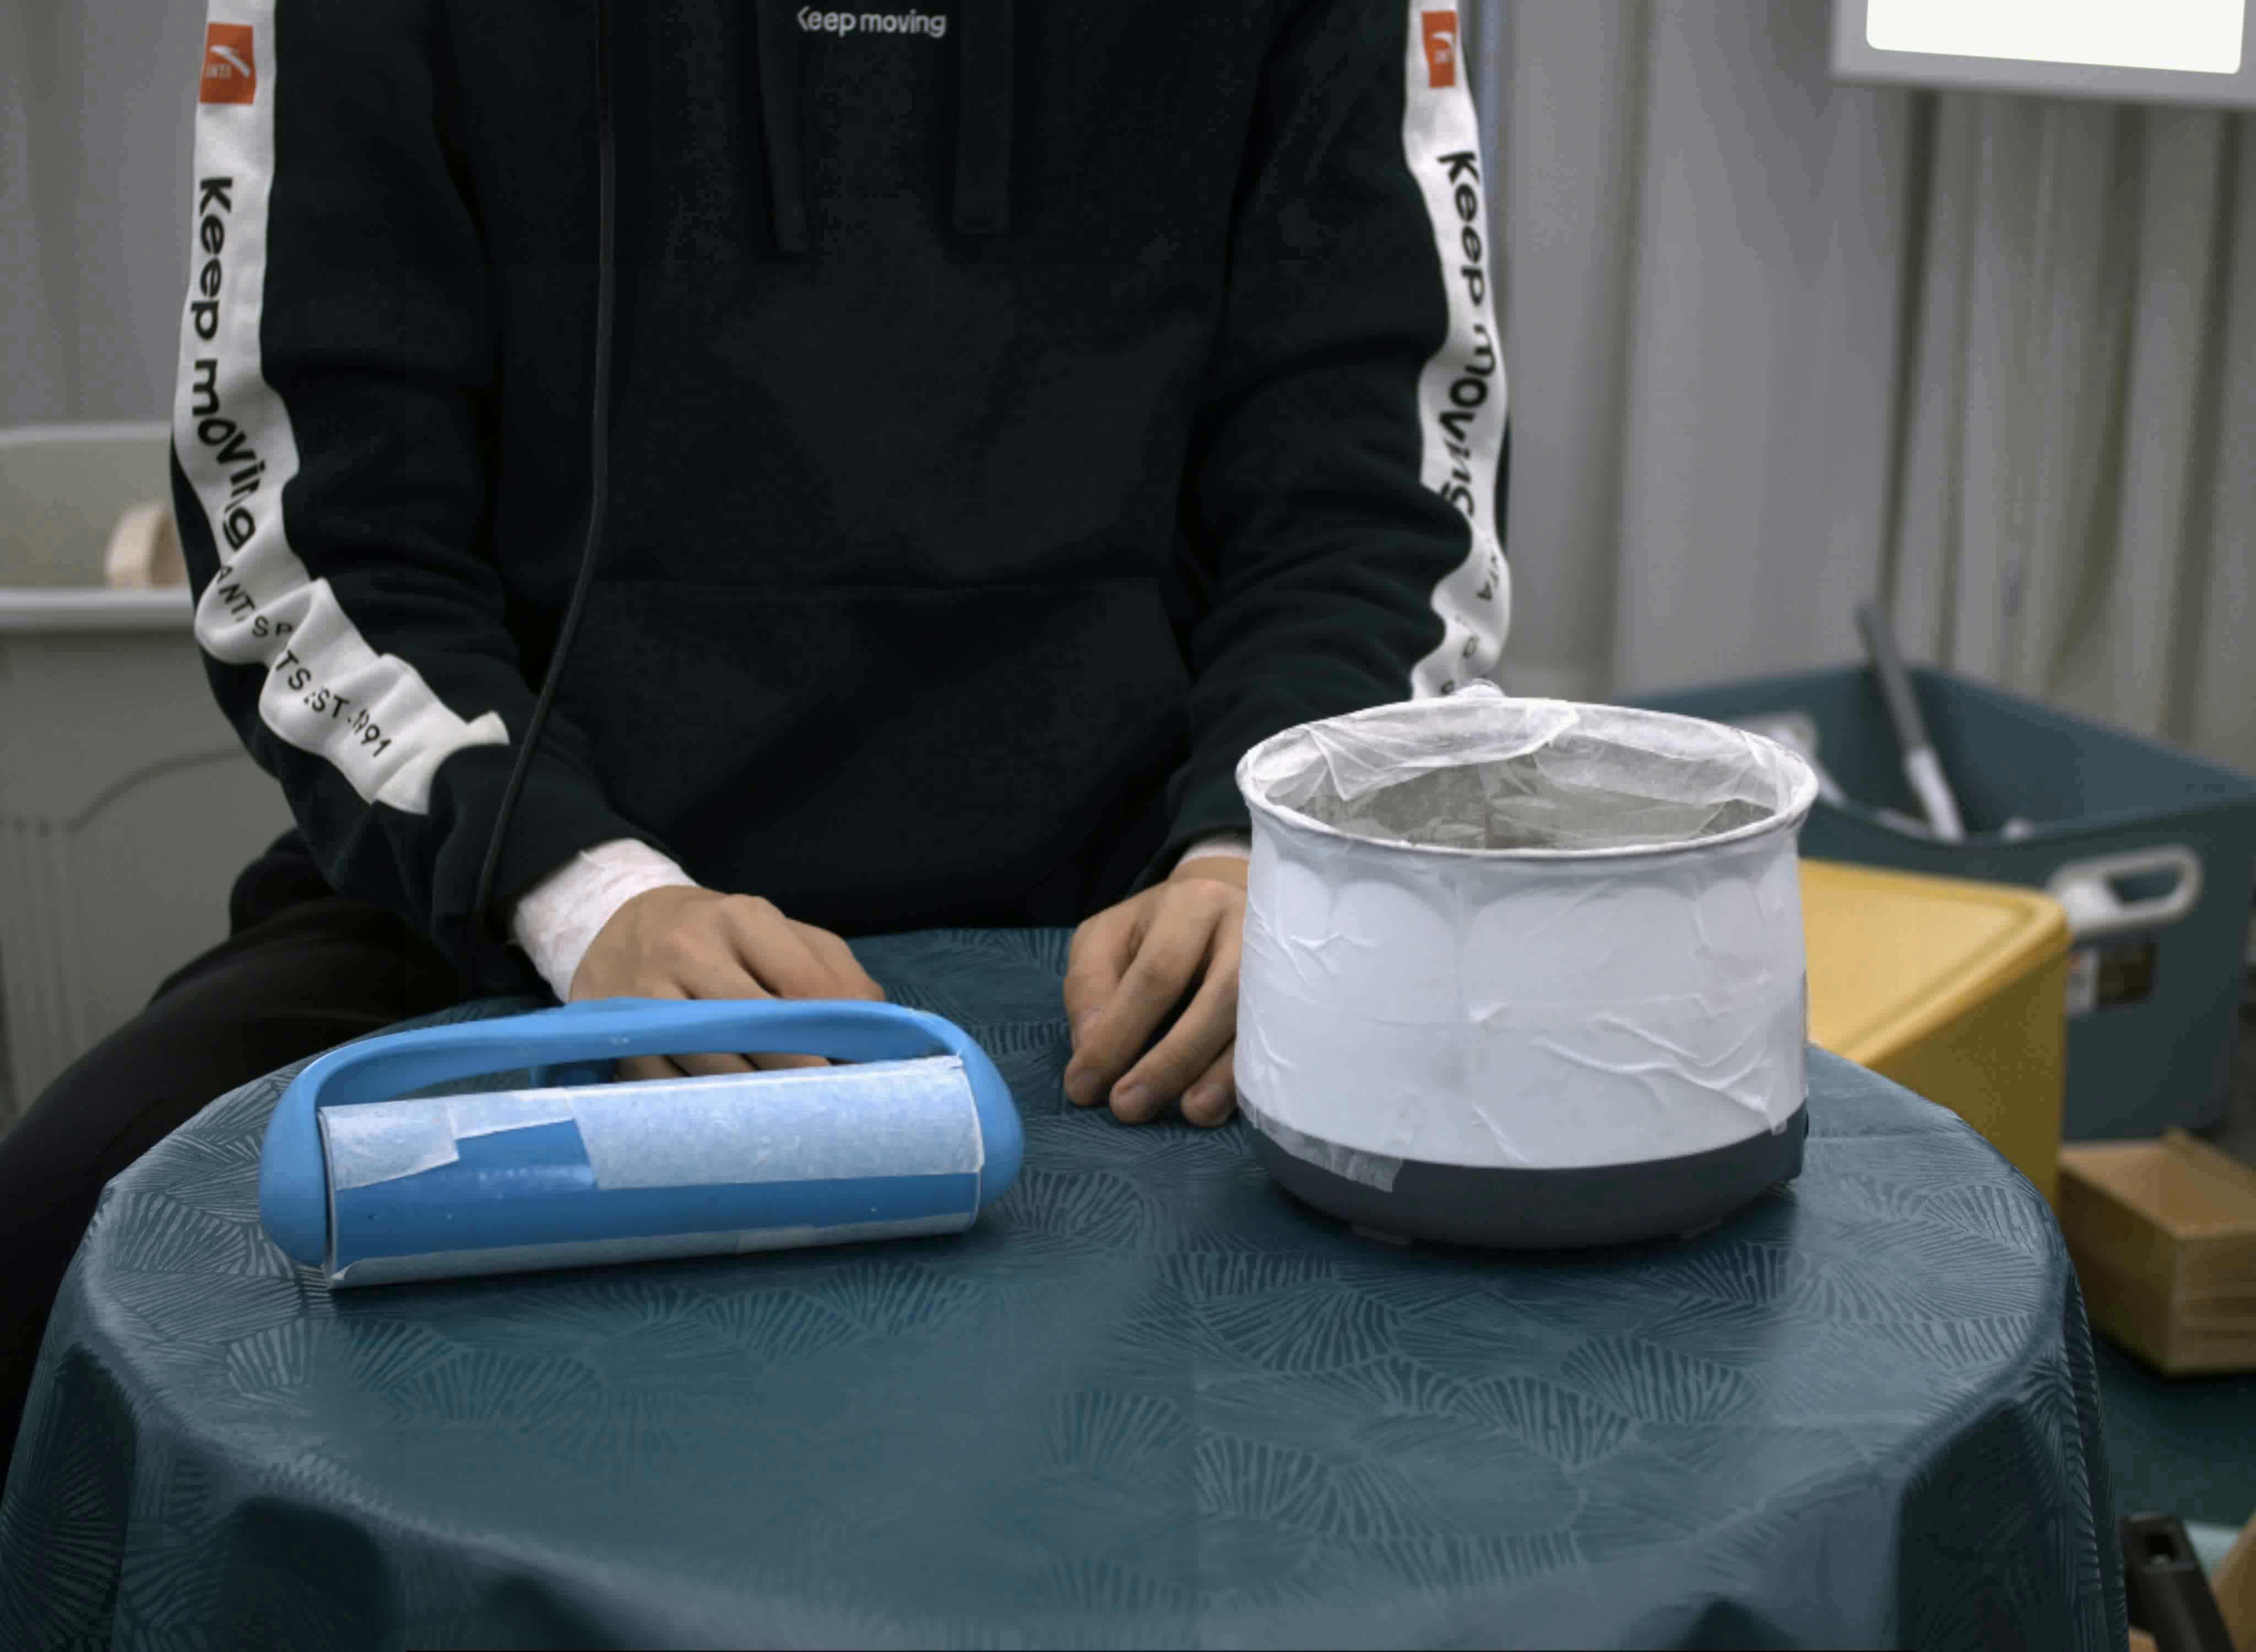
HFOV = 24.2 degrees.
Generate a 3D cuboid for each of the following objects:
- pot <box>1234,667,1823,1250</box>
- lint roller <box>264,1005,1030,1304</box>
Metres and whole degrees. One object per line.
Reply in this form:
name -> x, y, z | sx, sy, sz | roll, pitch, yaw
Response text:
pot -> 0.118, 0.036, 1.634 | 0.178, 0.138, 0.232 | -1, 17, -6
lint roller -> -0.159, 0.087, 1.603 | 0.229, 0.068, 0.178 | -7, 18, -18
